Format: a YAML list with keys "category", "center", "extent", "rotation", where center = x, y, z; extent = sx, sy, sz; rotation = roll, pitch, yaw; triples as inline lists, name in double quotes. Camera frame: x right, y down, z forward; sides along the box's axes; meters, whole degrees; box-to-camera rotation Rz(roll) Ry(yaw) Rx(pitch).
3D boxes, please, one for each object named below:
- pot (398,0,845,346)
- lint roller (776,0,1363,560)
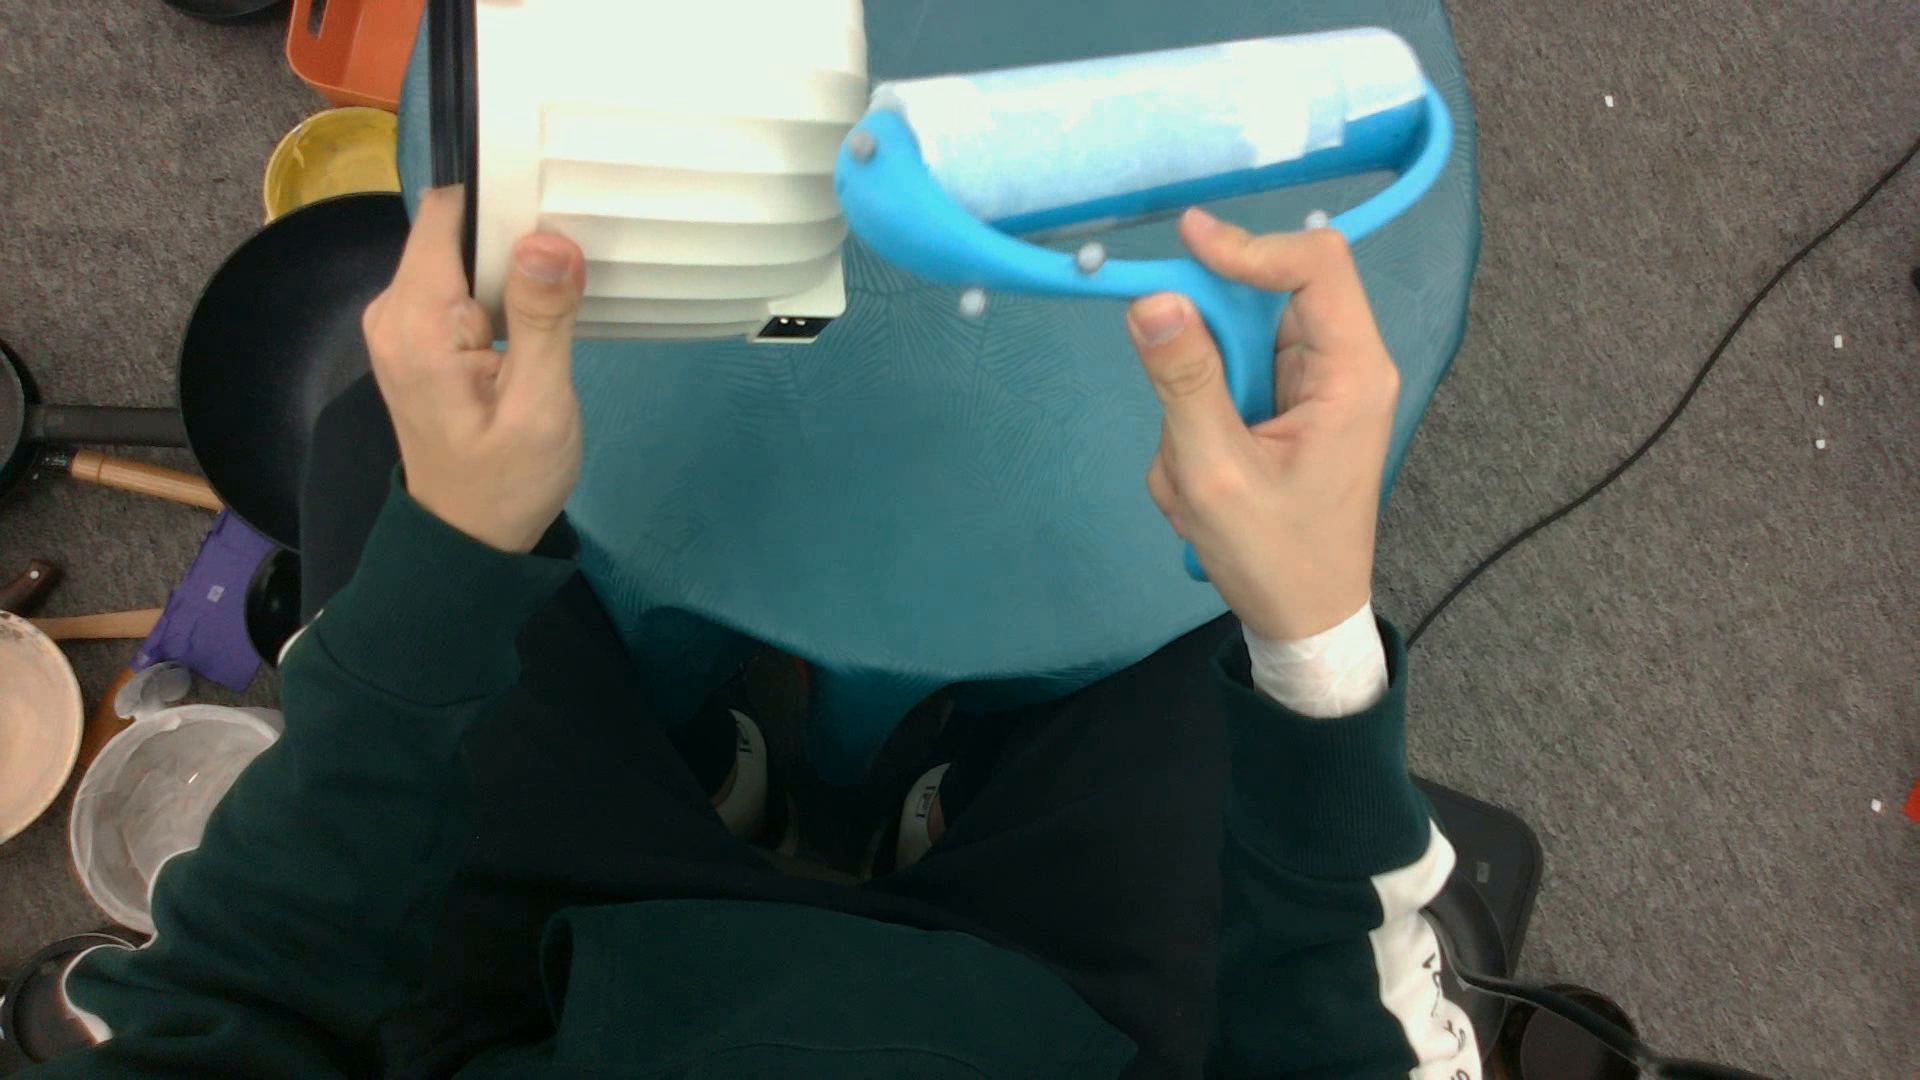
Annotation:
- category: "pot"
  center: [-0.129, -0.170, 0.511]
  extent: [0.143, 0.239, 0.190]
  rotation: [-7, 82, -27]
- category: "lint roller"
  center: [0.065, -0.081, 0.465]
  extent: [0.230, 0.067, 0.180]
  rotation: [-28, 97, -30]
